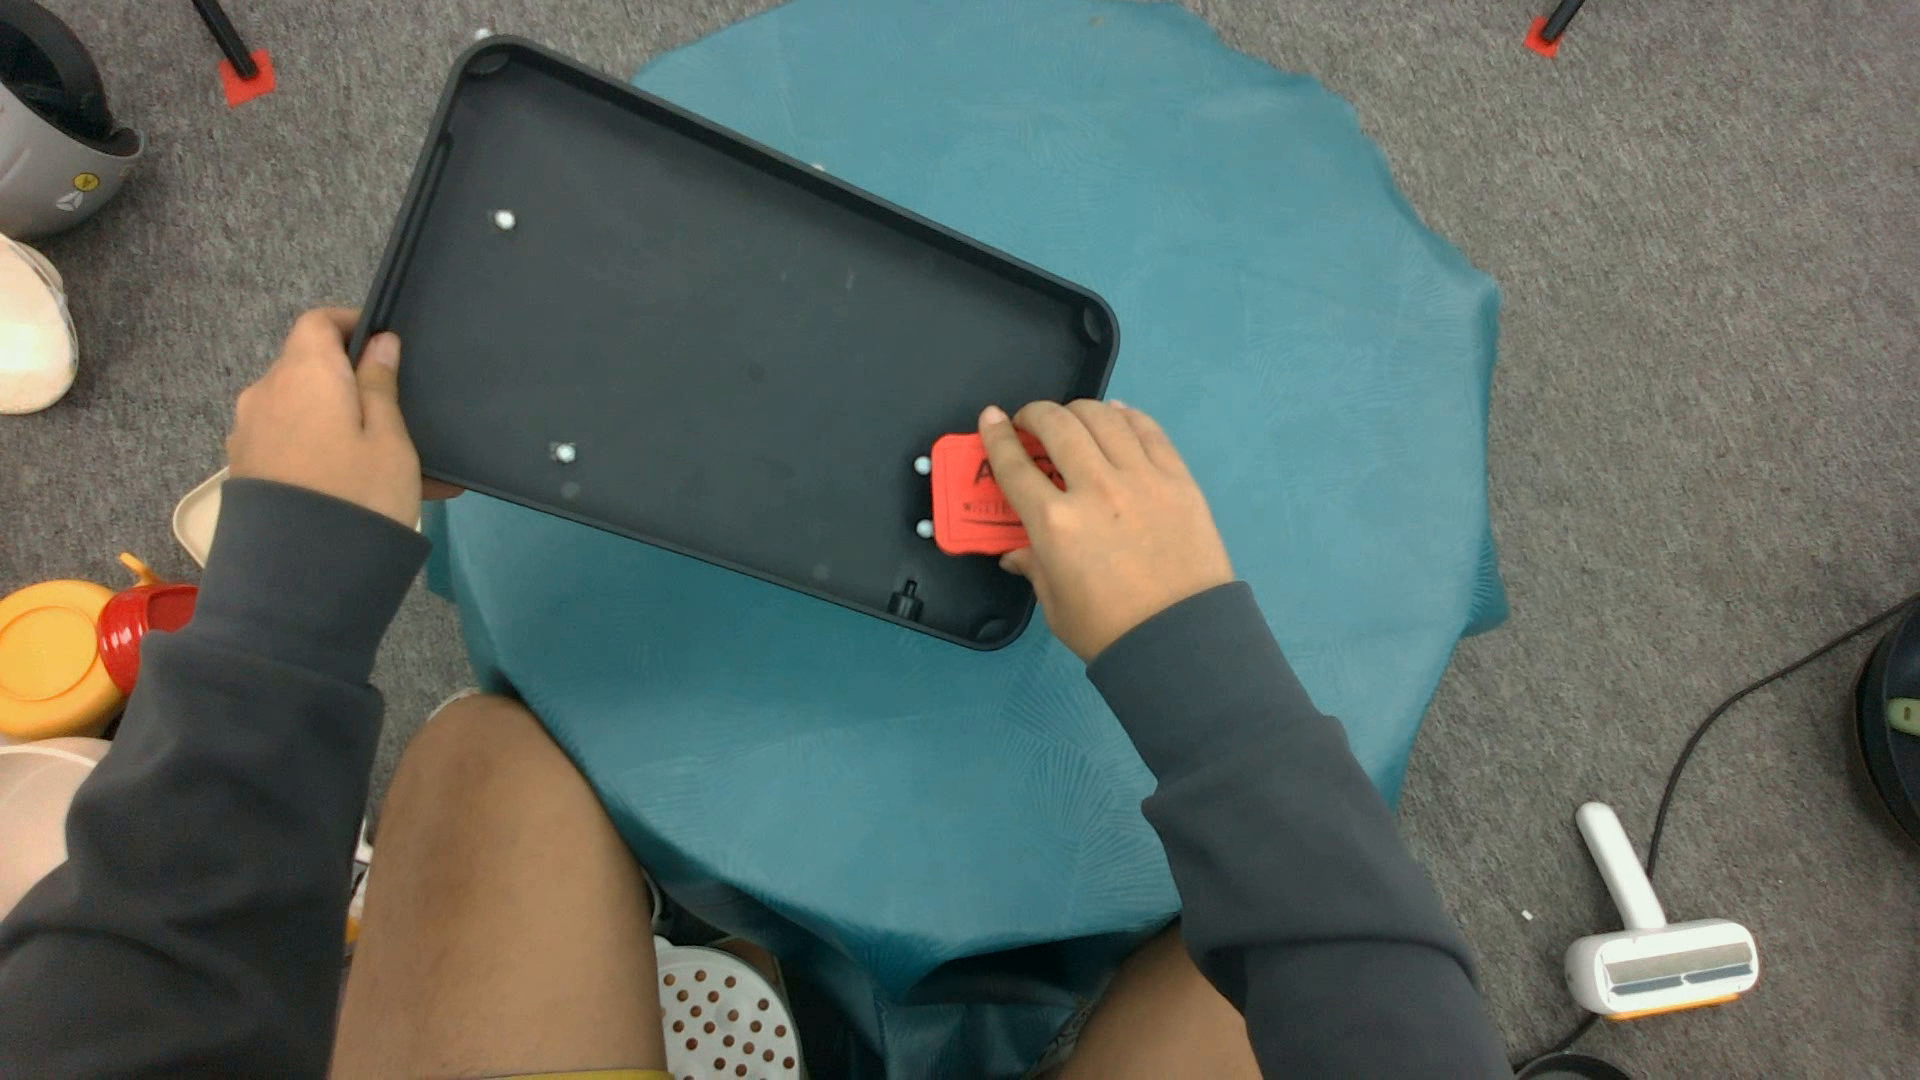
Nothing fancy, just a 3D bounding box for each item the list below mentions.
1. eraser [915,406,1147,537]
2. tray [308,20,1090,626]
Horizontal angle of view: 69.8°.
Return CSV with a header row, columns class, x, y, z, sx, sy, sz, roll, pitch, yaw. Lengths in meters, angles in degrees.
class,x,y,z,sx,sy,sz,roll,pitch,yaw
eraser,0.033,-0.033,0.650,0.108,0.023,0.059,-3,95,-3
tray,-0.104,-0.086,0.622,0.318,0.037,0.184,18,89,-22
